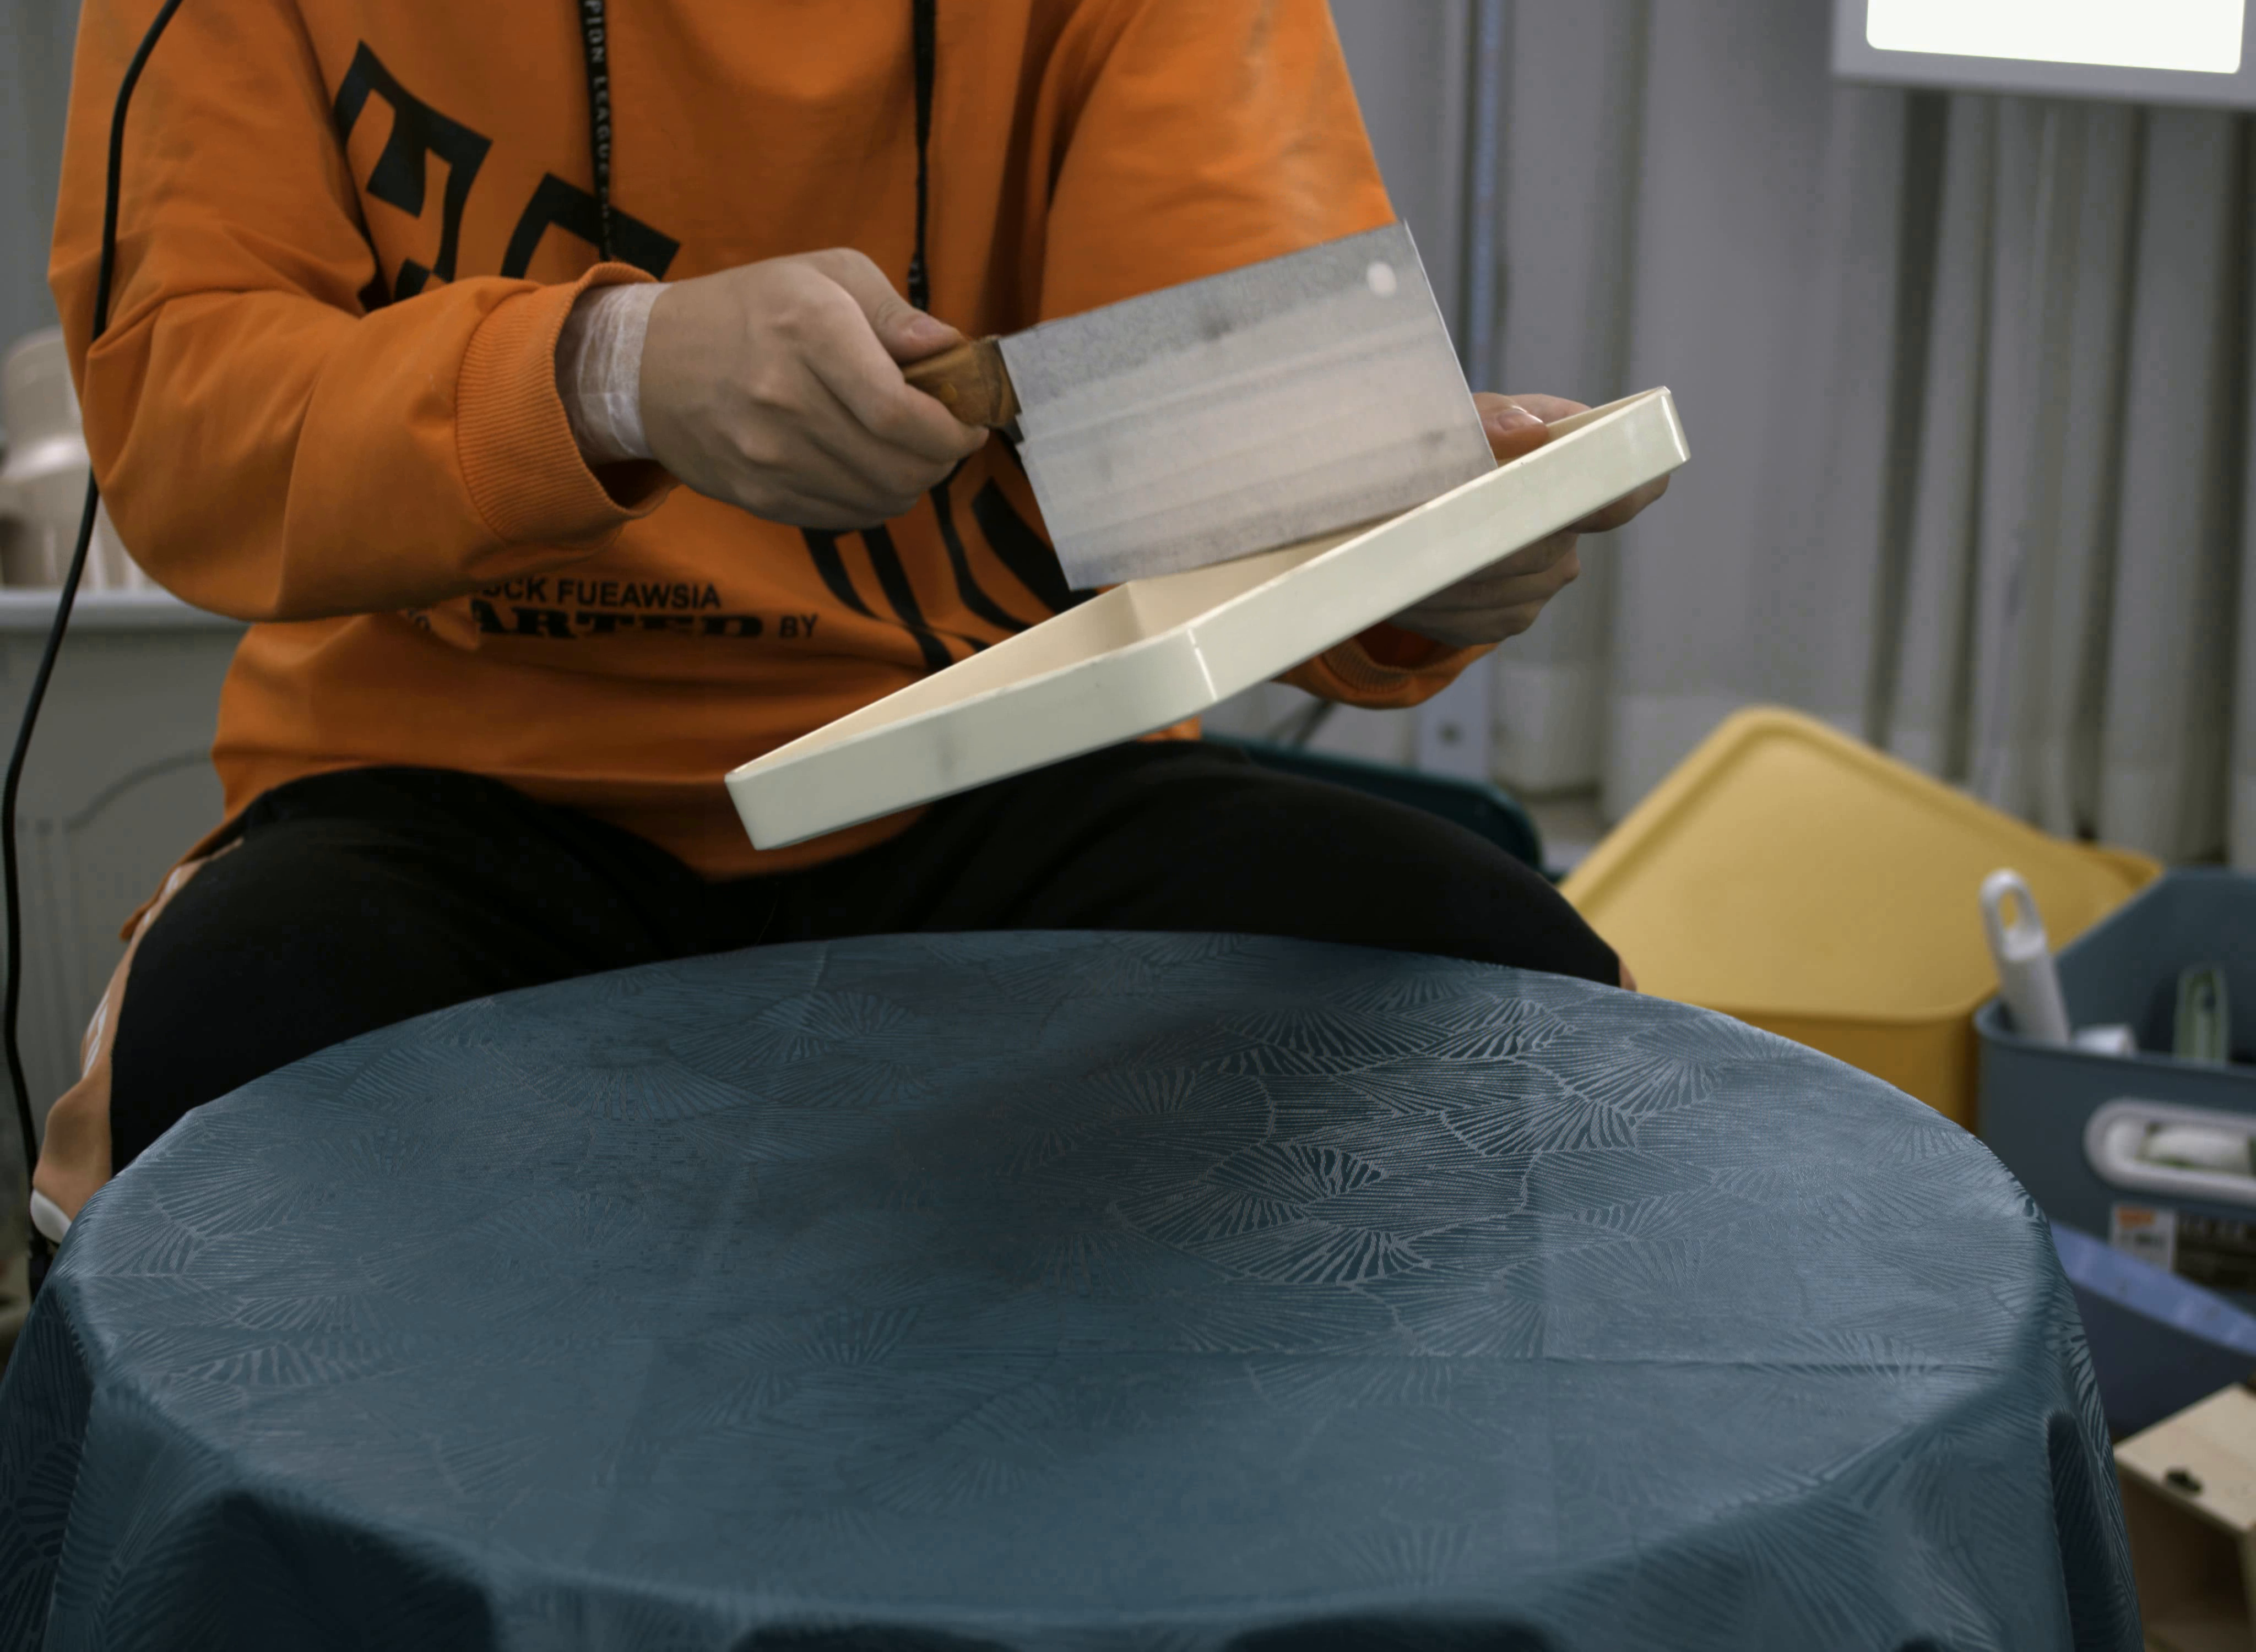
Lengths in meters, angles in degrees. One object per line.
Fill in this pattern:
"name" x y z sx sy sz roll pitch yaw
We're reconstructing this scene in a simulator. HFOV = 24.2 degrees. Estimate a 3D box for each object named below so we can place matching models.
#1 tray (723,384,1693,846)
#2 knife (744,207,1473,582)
"tray" 0.030 -0.067 1.635 0.190 0.027 0.301 -17 7 40
"knife" -0.009 -0.128 1.728 0.303 0.093 0.021 -12 15 43
